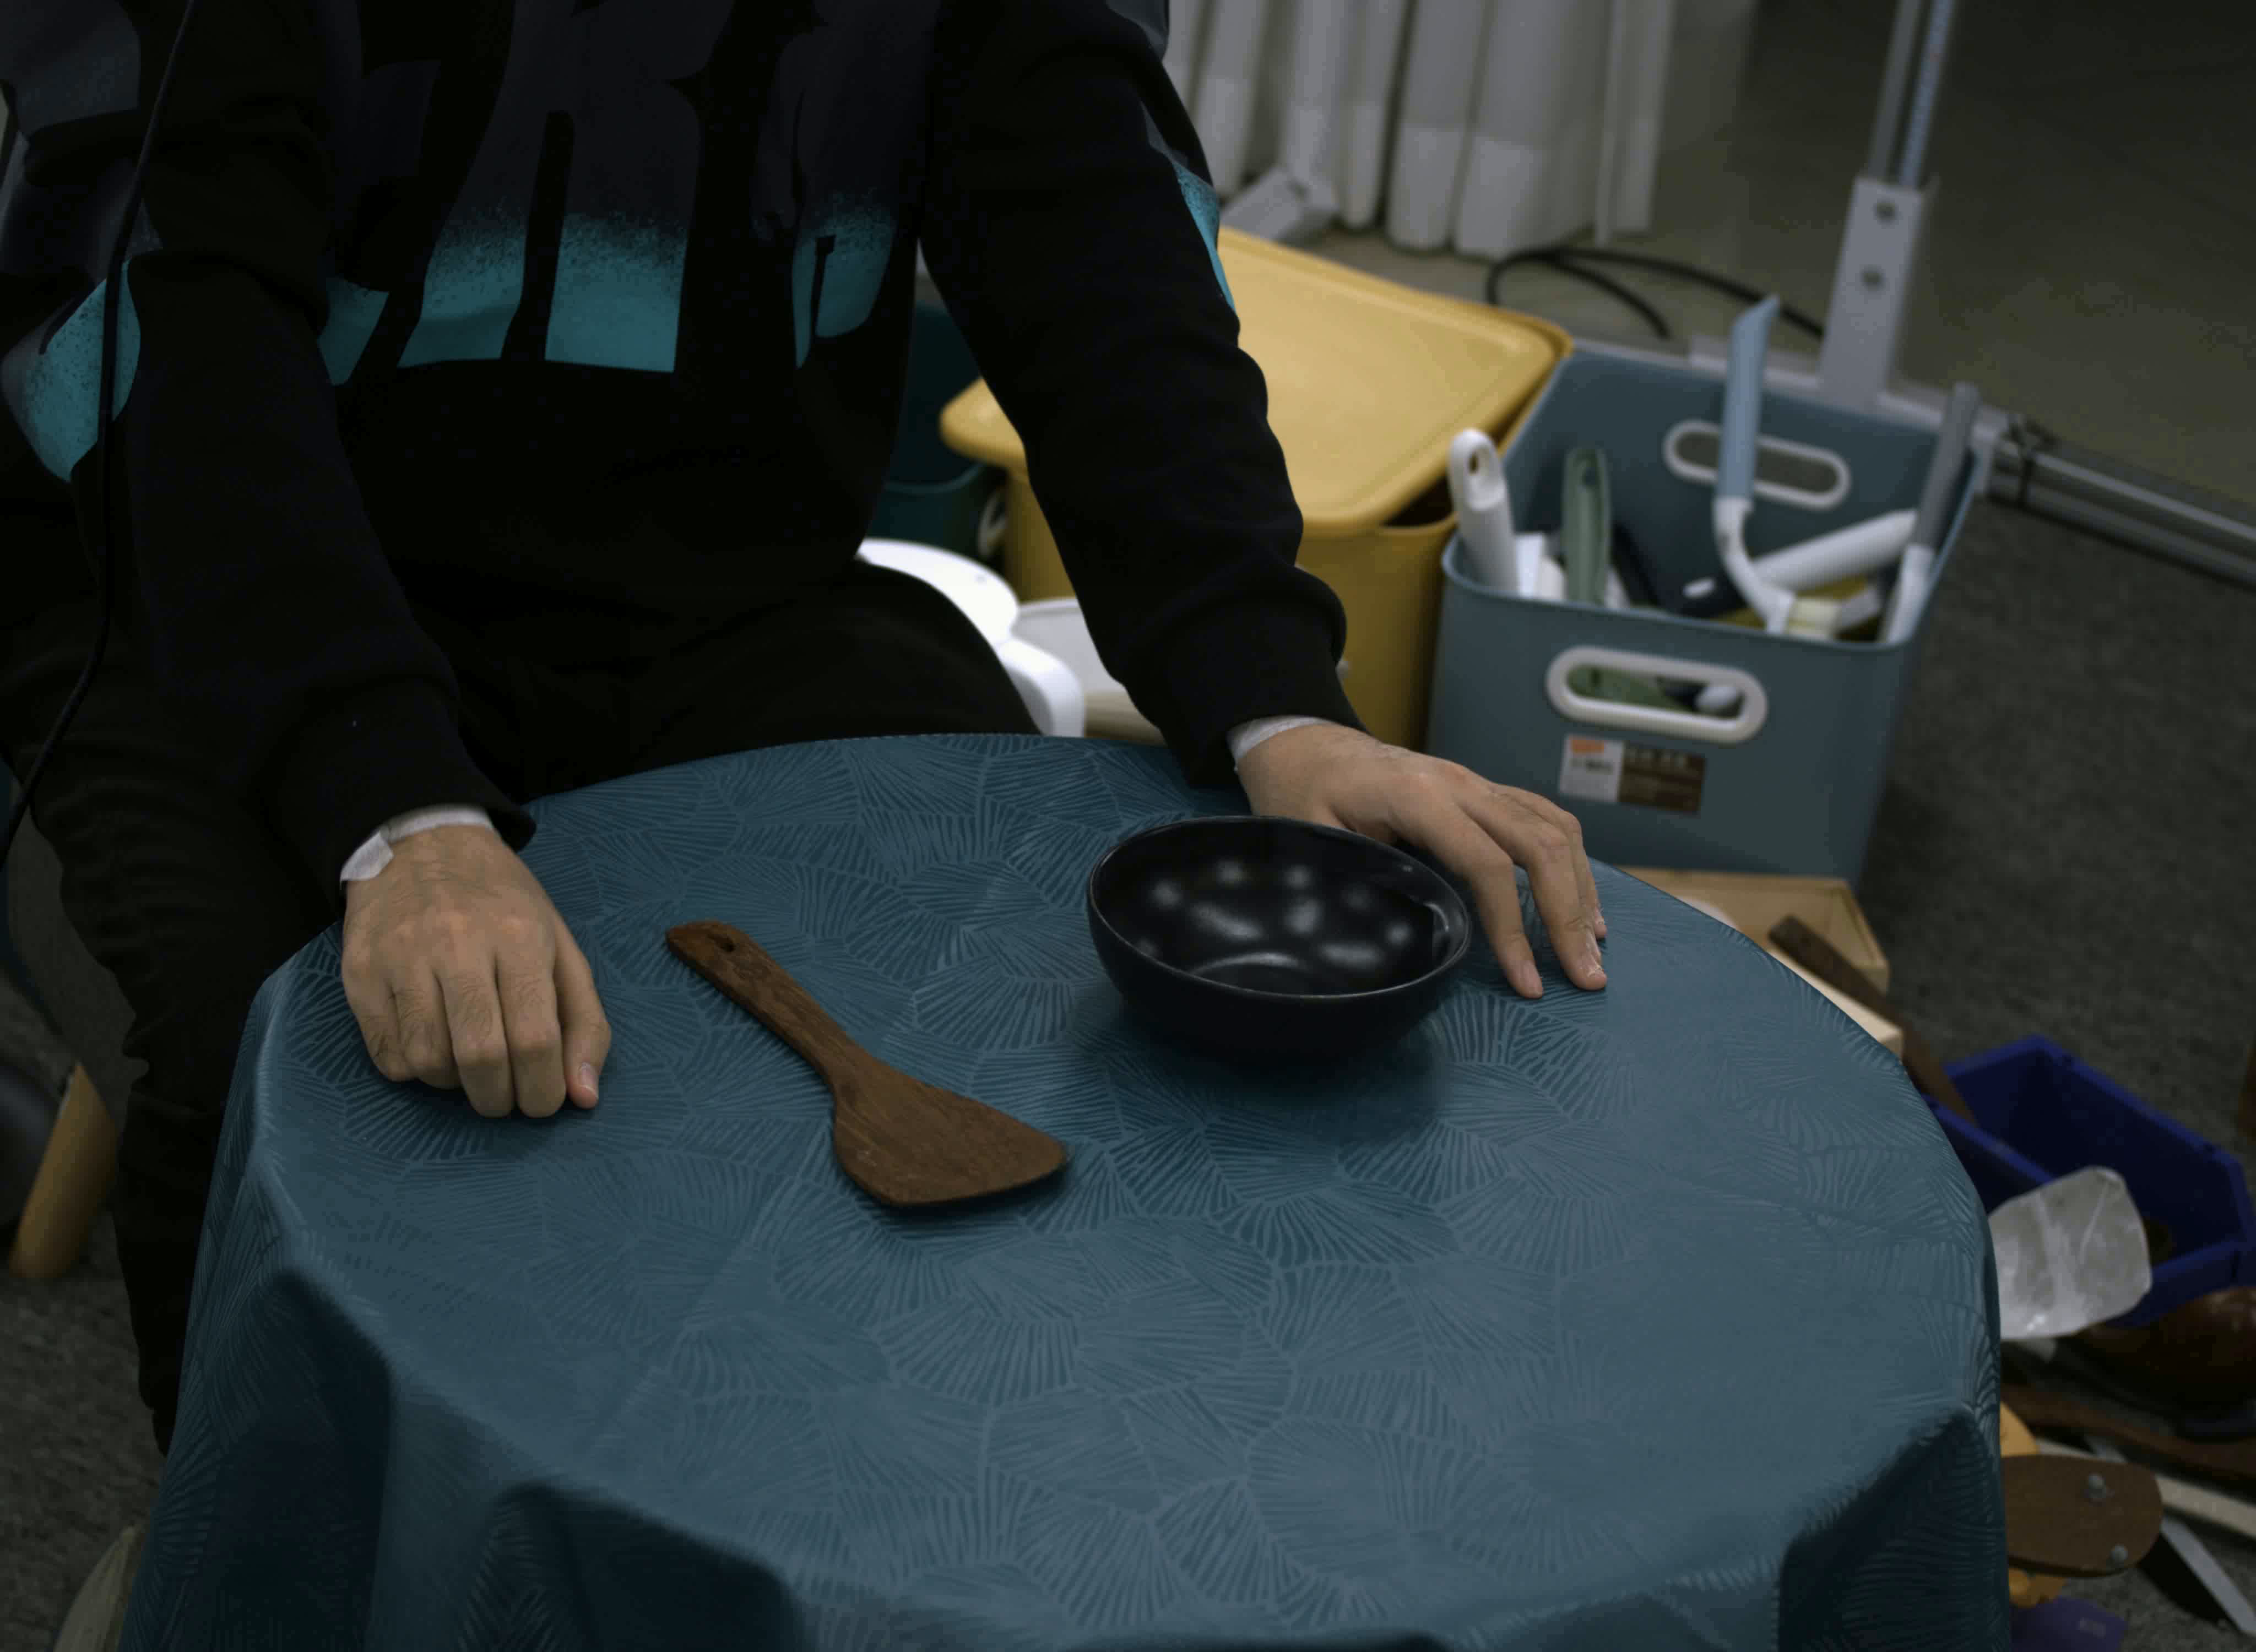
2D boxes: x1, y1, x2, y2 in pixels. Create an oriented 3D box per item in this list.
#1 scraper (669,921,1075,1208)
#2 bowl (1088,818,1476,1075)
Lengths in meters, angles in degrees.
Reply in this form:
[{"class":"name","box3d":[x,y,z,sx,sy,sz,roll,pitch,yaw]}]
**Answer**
[{"class":"scraper","box3d":[-0.100,0.081,1.853,0.075,0.011,0.213,-10,30,-32]},{"class":"bowl","box3d":[0.054,0.050,1.905,0.139,0.049,0.141,2,27,-2]}]
